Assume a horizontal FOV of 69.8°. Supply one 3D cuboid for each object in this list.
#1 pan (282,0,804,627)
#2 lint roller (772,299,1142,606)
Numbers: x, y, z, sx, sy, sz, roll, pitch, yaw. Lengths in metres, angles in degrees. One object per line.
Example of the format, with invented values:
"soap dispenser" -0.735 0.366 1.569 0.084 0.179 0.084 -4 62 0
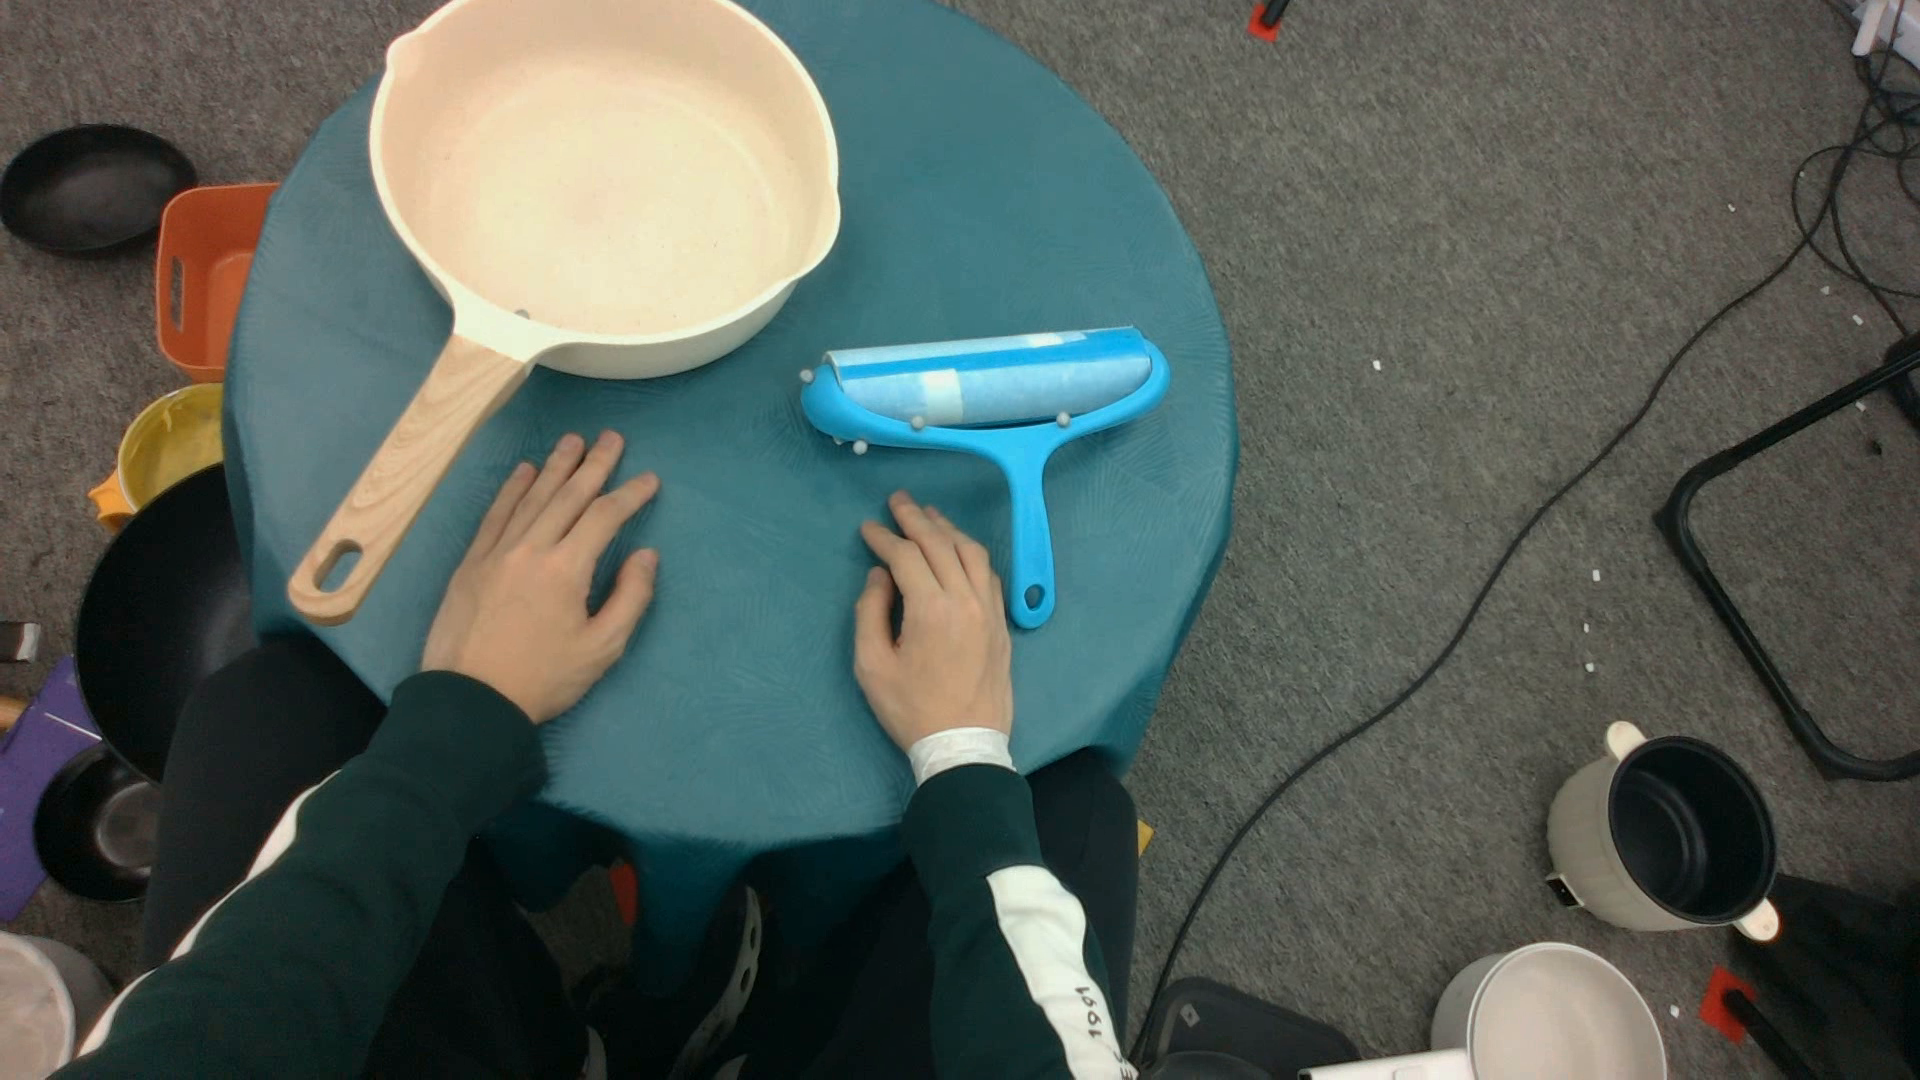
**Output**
"pan" -0.248 -0.139 0.756 0.263 0.101 0.436 22 66 -6
"lint roller" 0.017 -0.055 0.813 0.229 0.067 0.180 -11 72 -19
